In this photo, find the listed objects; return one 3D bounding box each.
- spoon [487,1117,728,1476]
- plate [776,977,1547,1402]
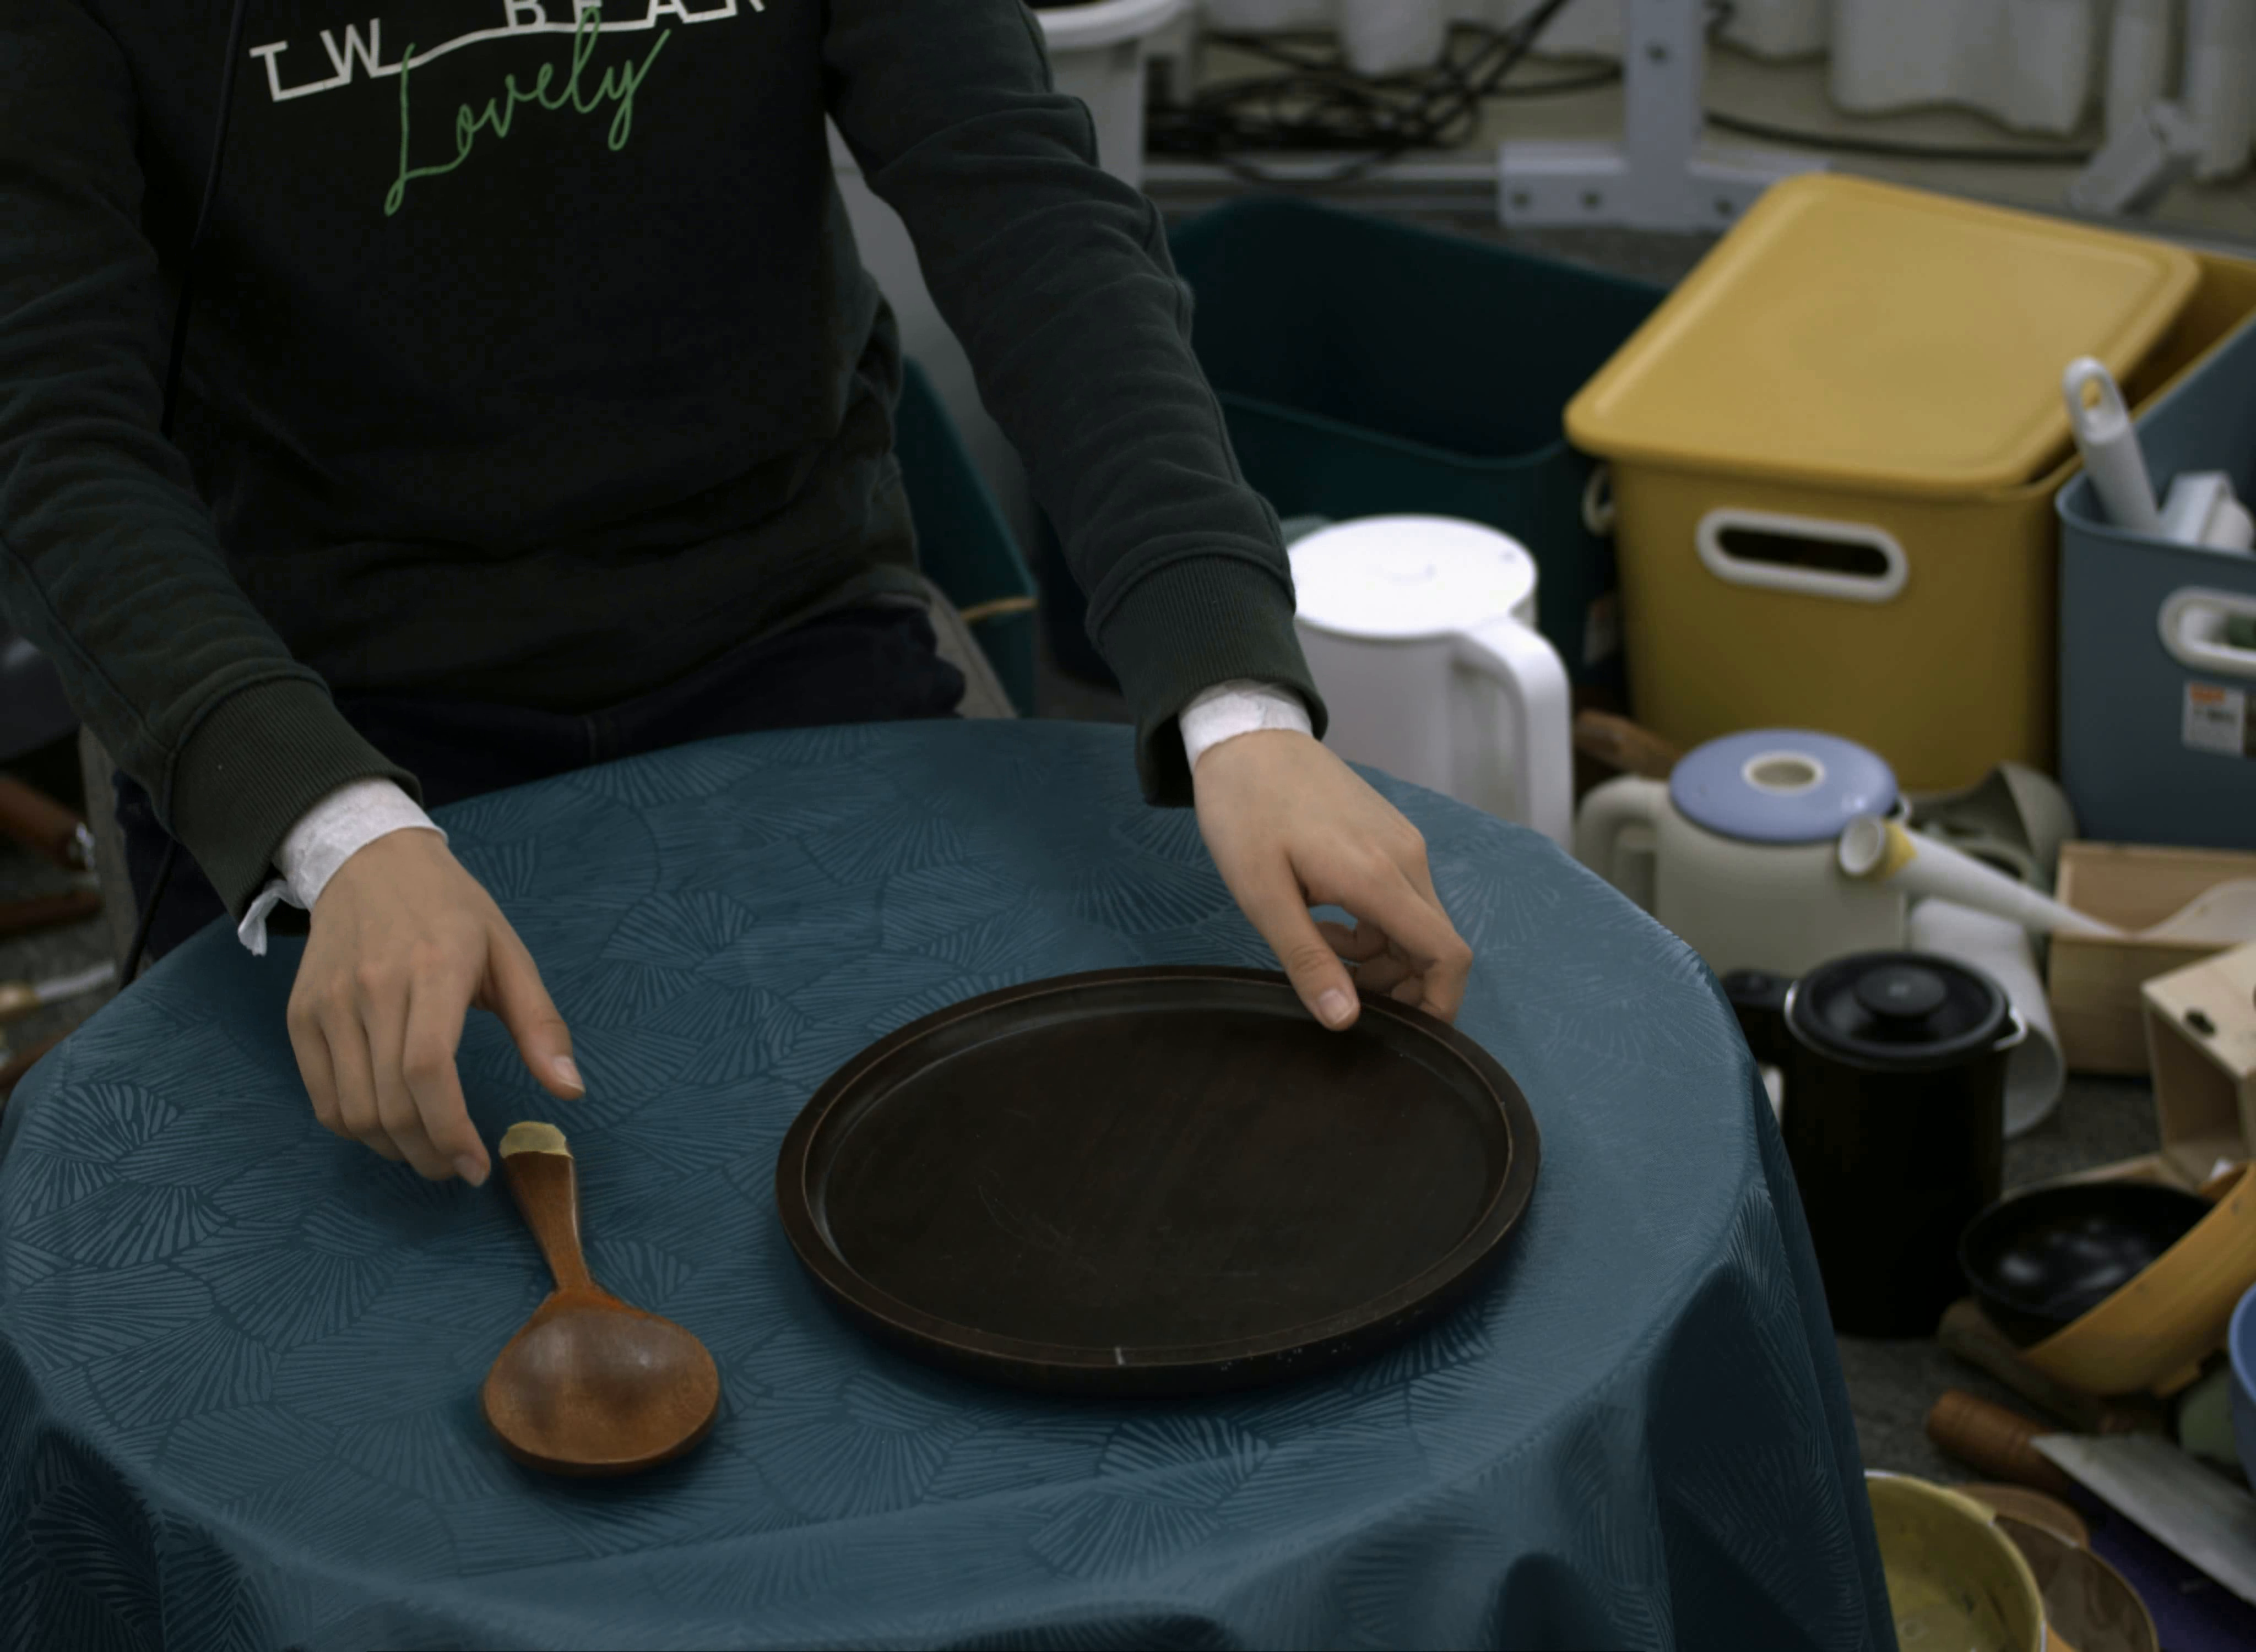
[{"bbox_3d":[-0.177,0.151,1.802,0.075,0.017,0.218,-9,28,-11],"label":"spoon"},{"bbox_3d":[0.011,0.117,1.845,0.253,0.029,0.259,-1,28,1],"label":"plate"}]
